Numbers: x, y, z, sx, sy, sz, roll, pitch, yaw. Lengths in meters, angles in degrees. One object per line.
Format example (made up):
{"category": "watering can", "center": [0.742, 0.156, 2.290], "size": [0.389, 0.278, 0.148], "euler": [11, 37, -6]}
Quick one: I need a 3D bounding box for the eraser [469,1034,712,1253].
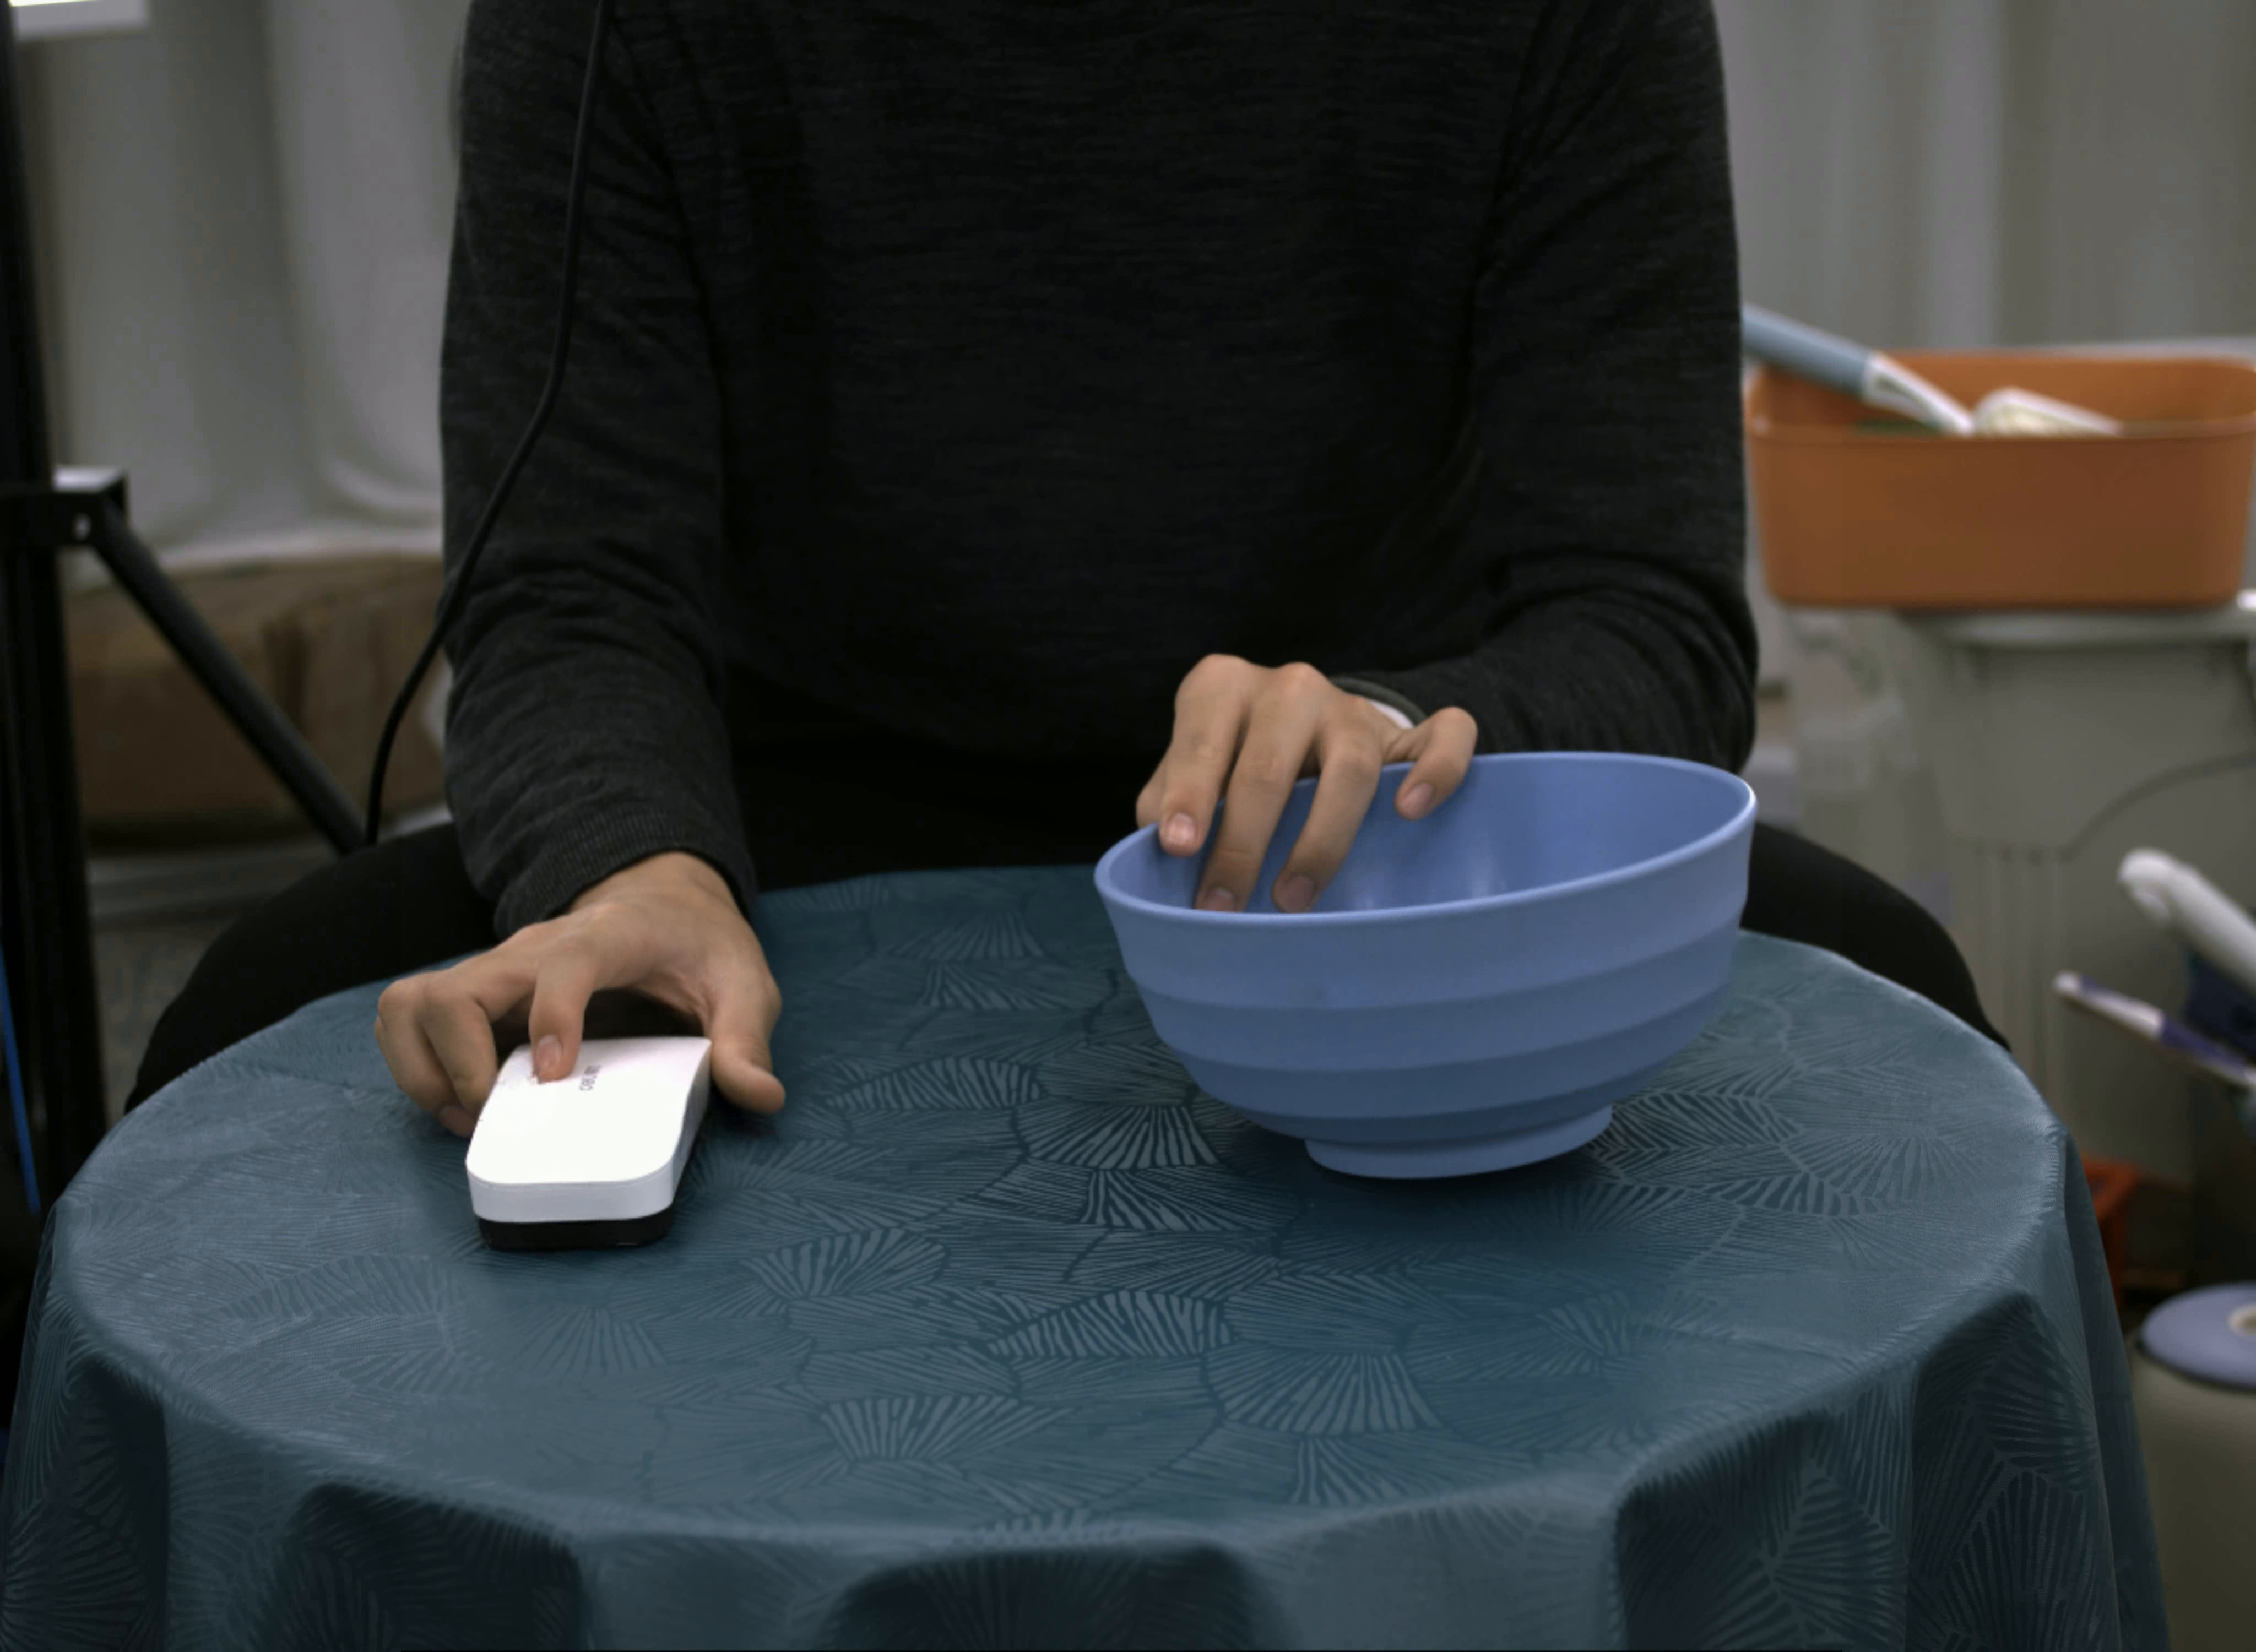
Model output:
{"category": "eraser", "center": [-0.157, 0.090, 1.589], "size": [0.063, 0.034, 0.131], "euler": [-1, 17, 3]}

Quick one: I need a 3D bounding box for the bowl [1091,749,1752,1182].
{"category": "bowl", "center": [0.092, 0.047, 1.569], "size": [0.195, 0.095, 0.197], "euler": [-9, 12, 0]}
